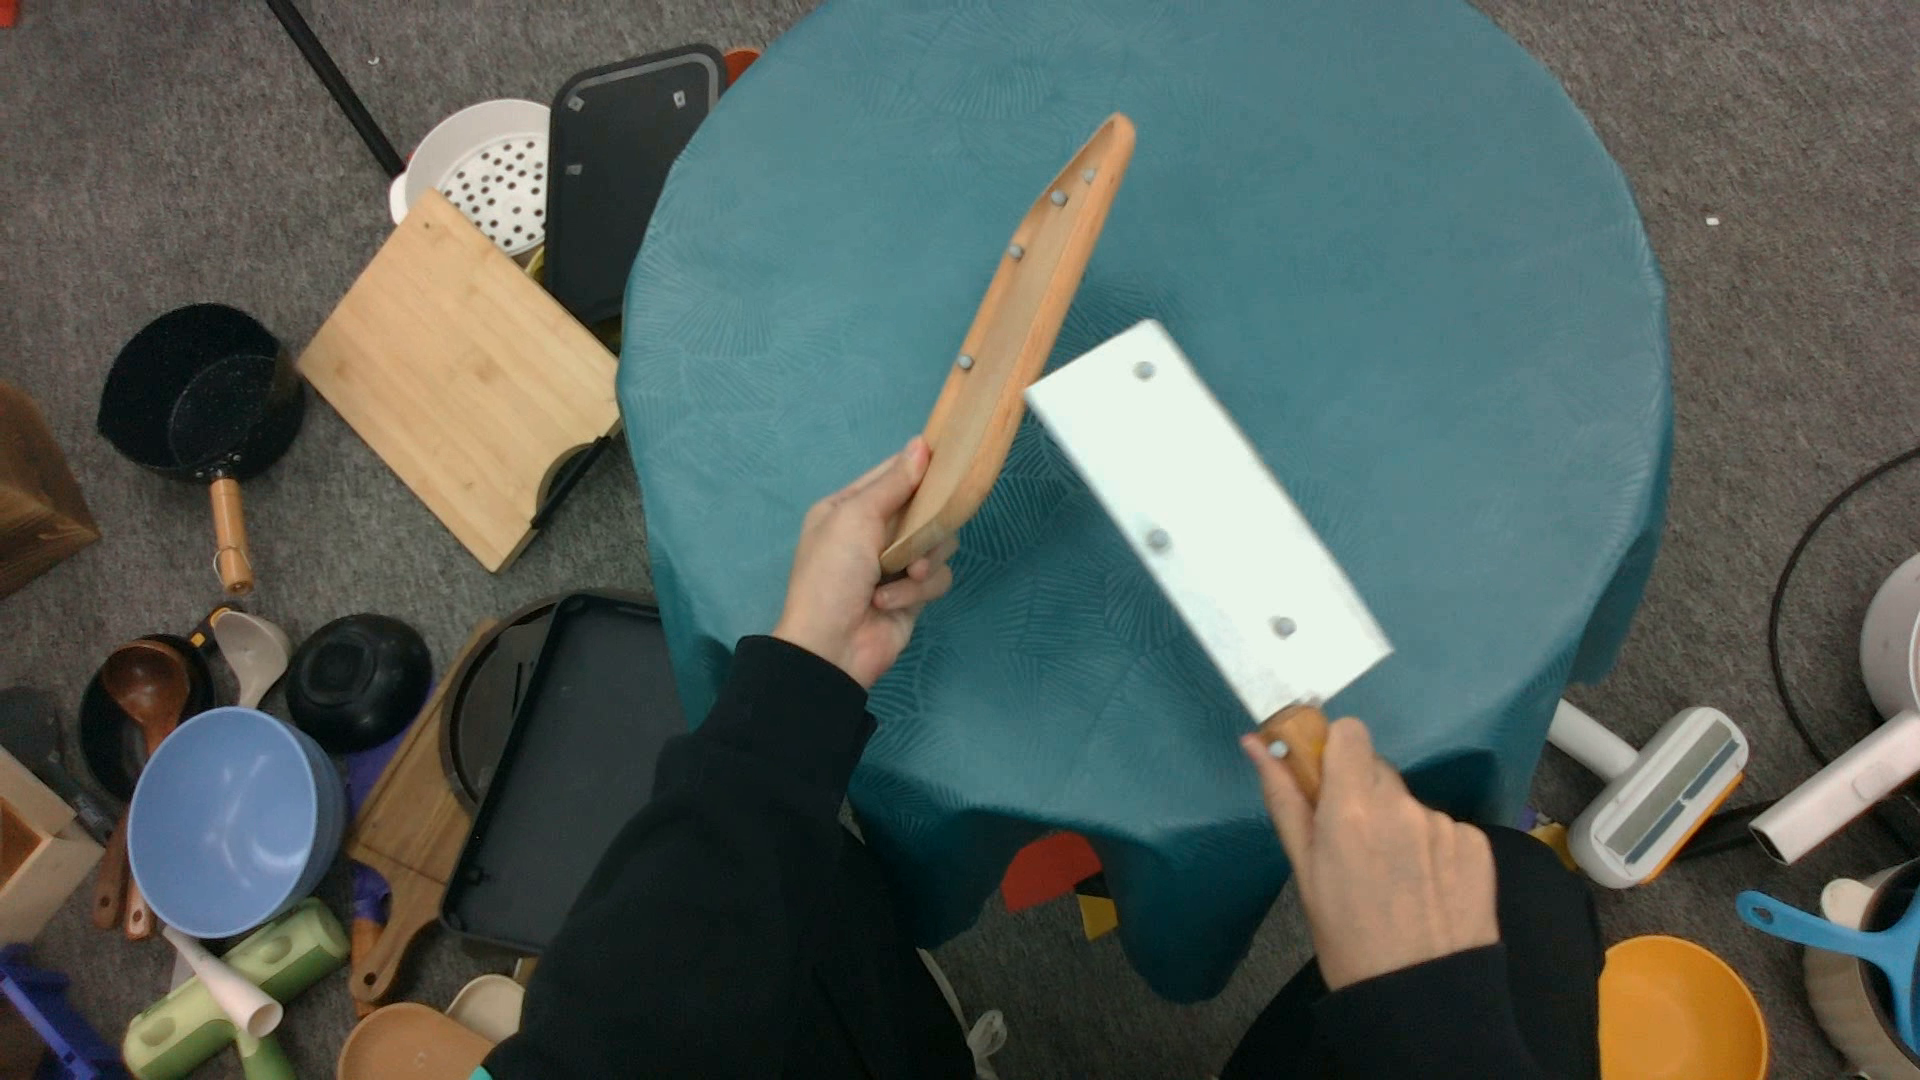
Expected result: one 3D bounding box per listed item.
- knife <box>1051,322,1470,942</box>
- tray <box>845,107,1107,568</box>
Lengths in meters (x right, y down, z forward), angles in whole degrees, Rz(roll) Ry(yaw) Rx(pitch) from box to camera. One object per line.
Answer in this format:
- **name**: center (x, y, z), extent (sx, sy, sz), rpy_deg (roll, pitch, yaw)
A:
- **knife**: center (0.152, 0.031, 0.635), extent (0.093, 0.021, 0.306), rpy_deg (-27, 80, -29)
- **tray**: center (0.010, -0.102, 0.692), extent (0.023, 0.130, 0.251), rpy_deg (27, 65, -14)
